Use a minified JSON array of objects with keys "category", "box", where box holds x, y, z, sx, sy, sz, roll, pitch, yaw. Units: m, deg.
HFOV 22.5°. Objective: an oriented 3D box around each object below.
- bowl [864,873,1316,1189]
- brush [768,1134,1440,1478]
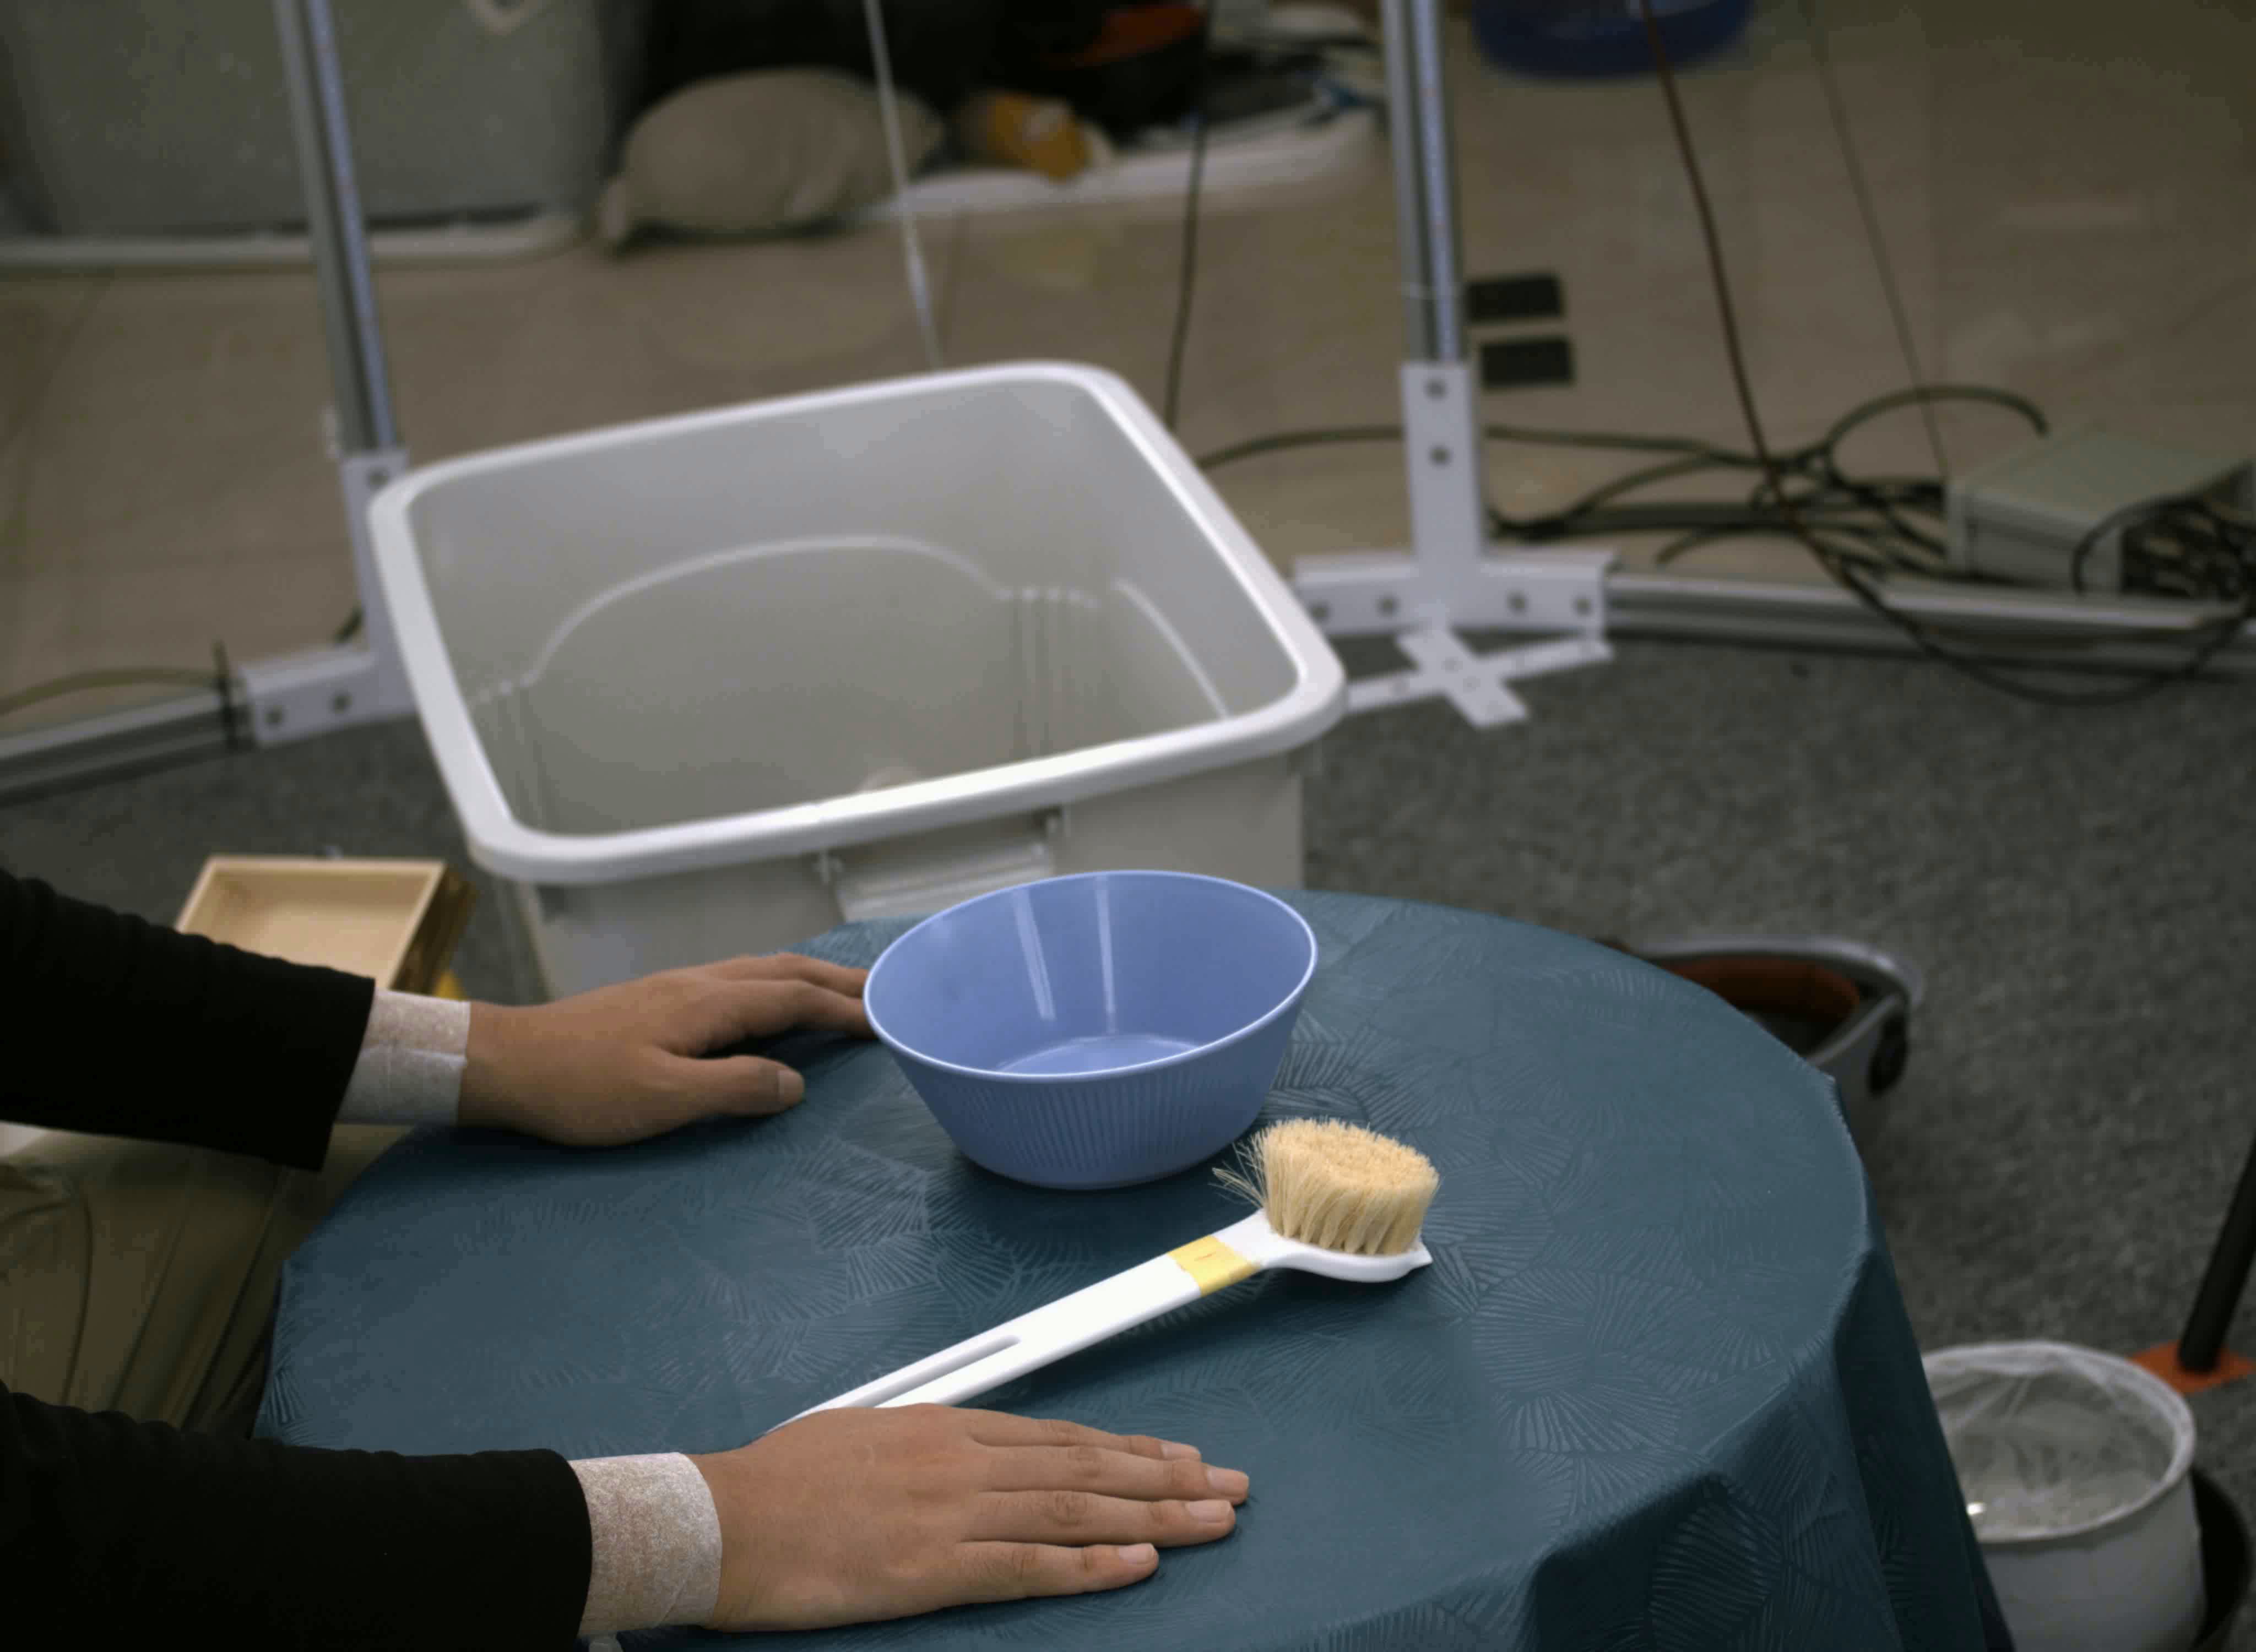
[{"category":"bowl","box":[-0.011,0.084,2.181,0.176,0.071,0.173,-6,25,3]},{"category":"brush","box":[-0.008,0.167,2.026,0.265,0.057,0.068,-17,23,-19]}]
